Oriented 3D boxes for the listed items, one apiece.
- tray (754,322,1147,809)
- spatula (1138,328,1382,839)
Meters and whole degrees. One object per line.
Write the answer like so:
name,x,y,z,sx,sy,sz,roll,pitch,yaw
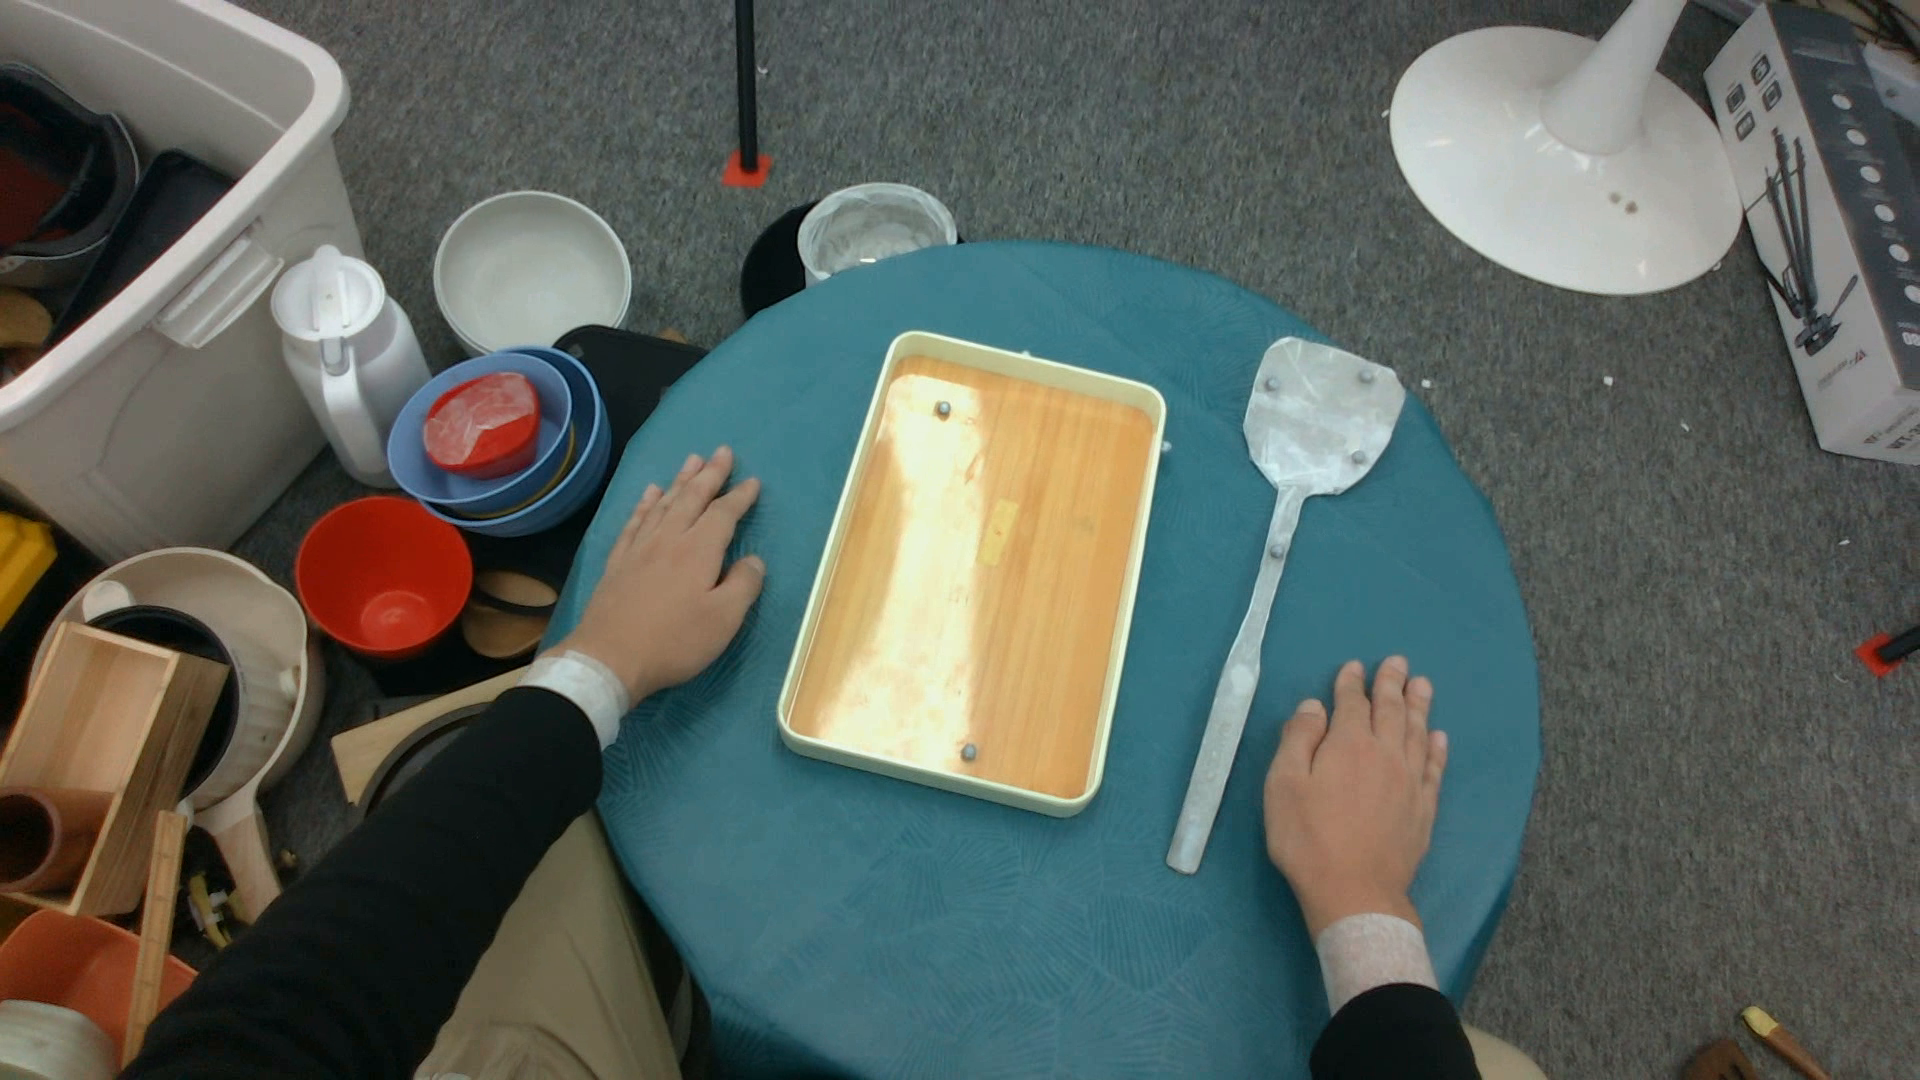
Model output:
tray,0.002,0.005,0.853,0.191,0.027,0.301,14,60,1
spatula,0.179,0.020,0.860,0.098,0.044,0.366,21,60,4
